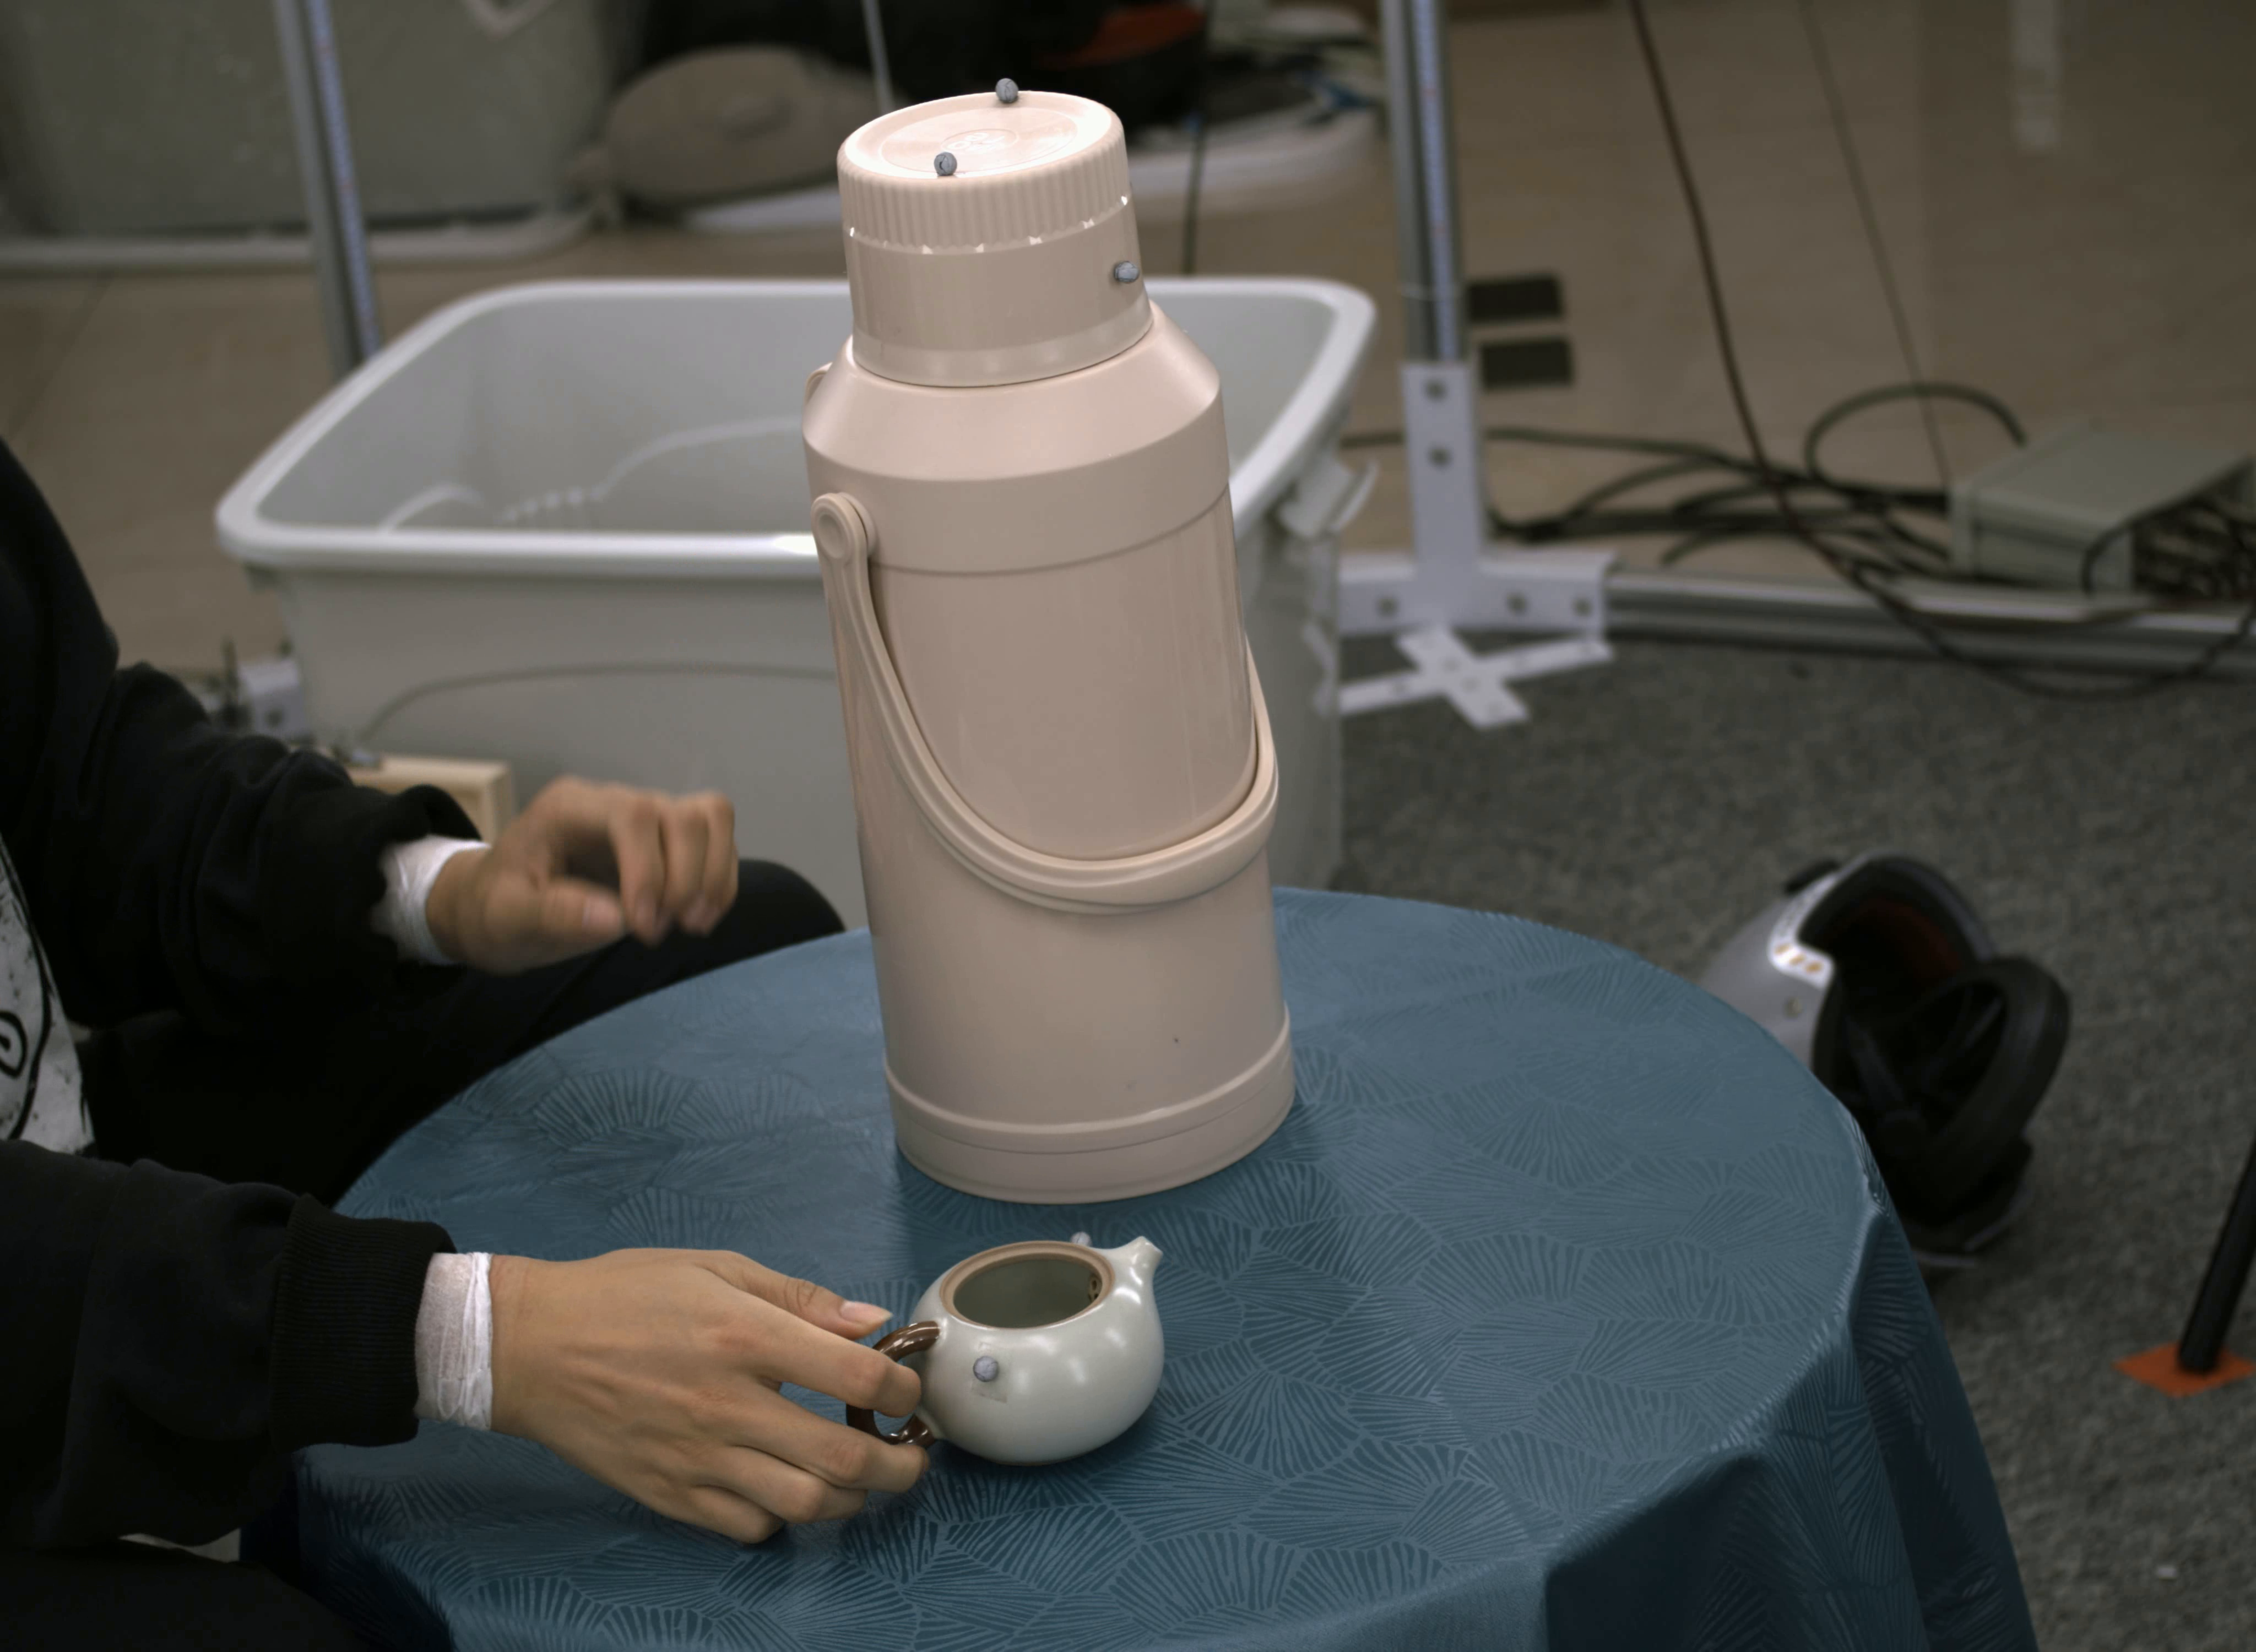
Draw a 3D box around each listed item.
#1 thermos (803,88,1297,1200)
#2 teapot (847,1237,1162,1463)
[{"bbox_3d":[-0.041,-0.074,2.139,0.174,0.413,0.205,-27,33,-33],"label":"thermos"},{"bbox_3d":[-0.042,0.187,1.987,0.127,0.060,0.091,-19,31,-27],"label":"teapot"}]
